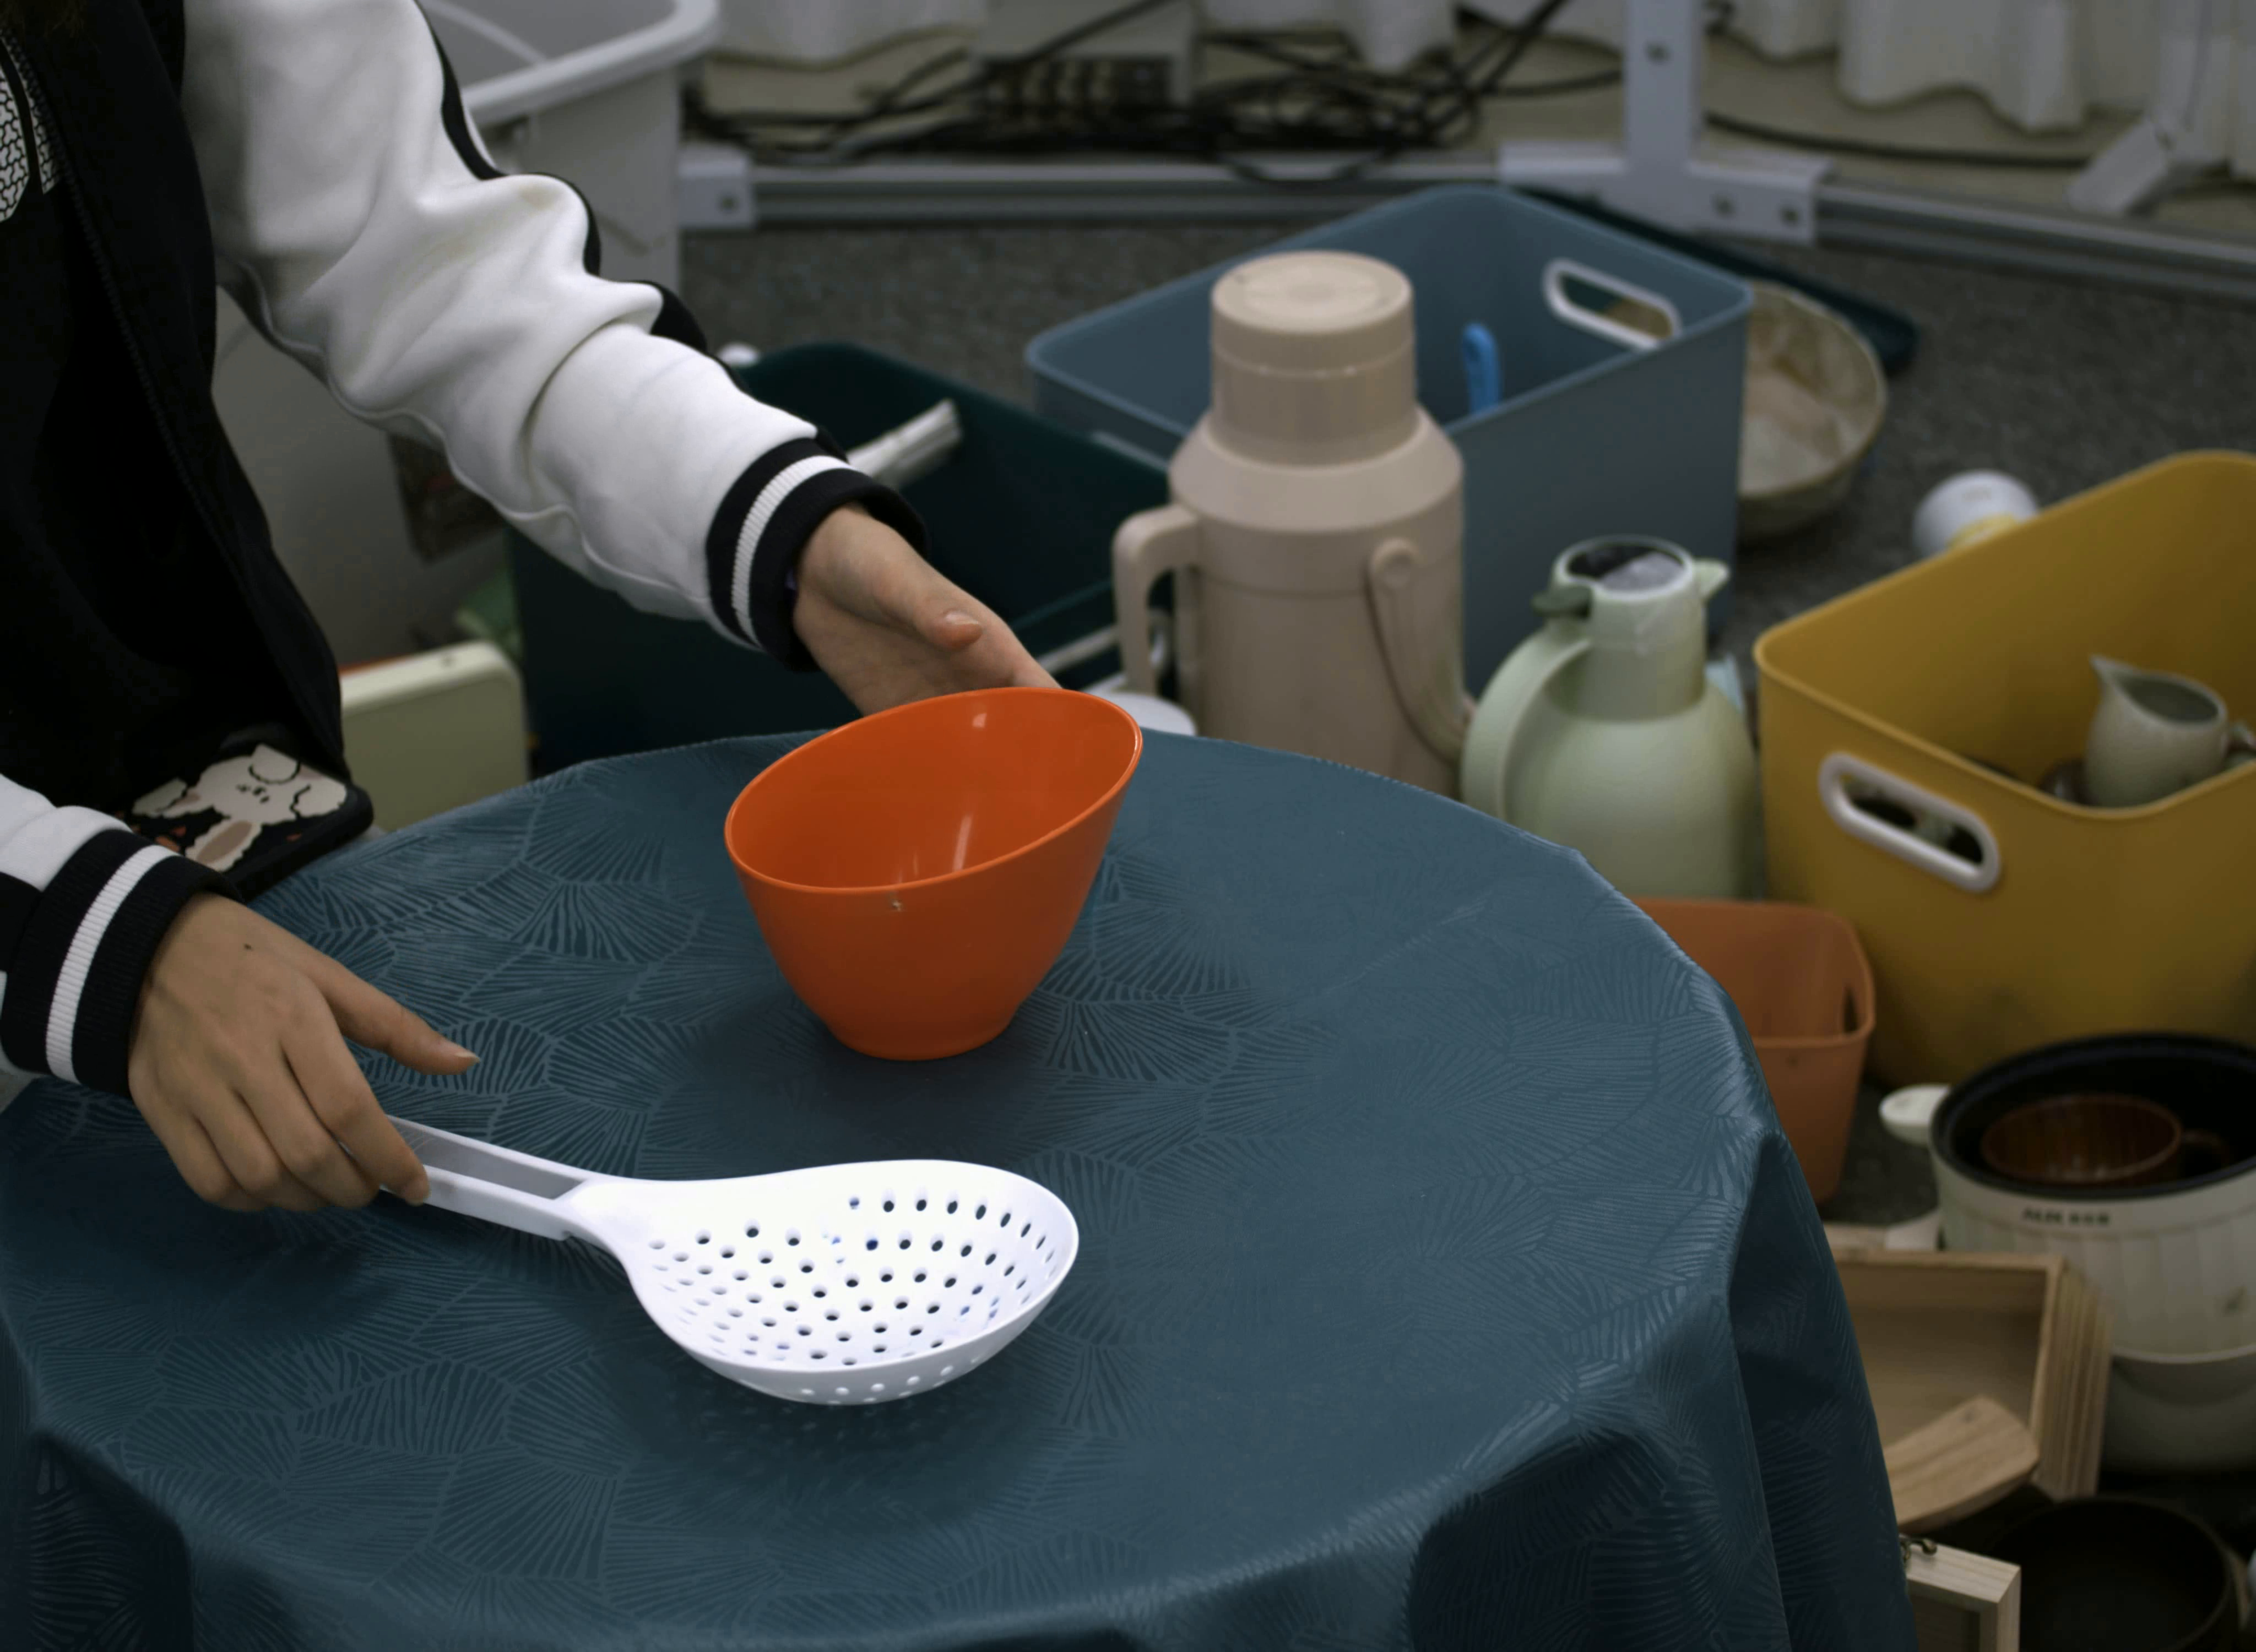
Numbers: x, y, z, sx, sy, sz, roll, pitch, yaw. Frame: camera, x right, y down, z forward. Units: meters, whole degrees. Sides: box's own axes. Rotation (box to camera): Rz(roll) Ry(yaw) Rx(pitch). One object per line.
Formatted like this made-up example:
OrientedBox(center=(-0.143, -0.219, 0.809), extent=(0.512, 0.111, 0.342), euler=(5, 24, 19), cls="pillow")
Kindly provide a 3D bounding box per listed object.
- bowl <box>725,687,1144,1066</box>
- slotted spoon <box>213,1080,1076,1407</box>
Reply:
OrientedBox(center=(-0.064, 0.023, 1.950), extent=(0.147, 0.103, 0.150), euler=(-3, 29, 2), cls="bowl")
OrientedBox(center=(-0.168, 0.126, 1.820), extent=(0.348, 0.045, 0.138), euler=(16, 31, 34), cls="slotted spoon")
